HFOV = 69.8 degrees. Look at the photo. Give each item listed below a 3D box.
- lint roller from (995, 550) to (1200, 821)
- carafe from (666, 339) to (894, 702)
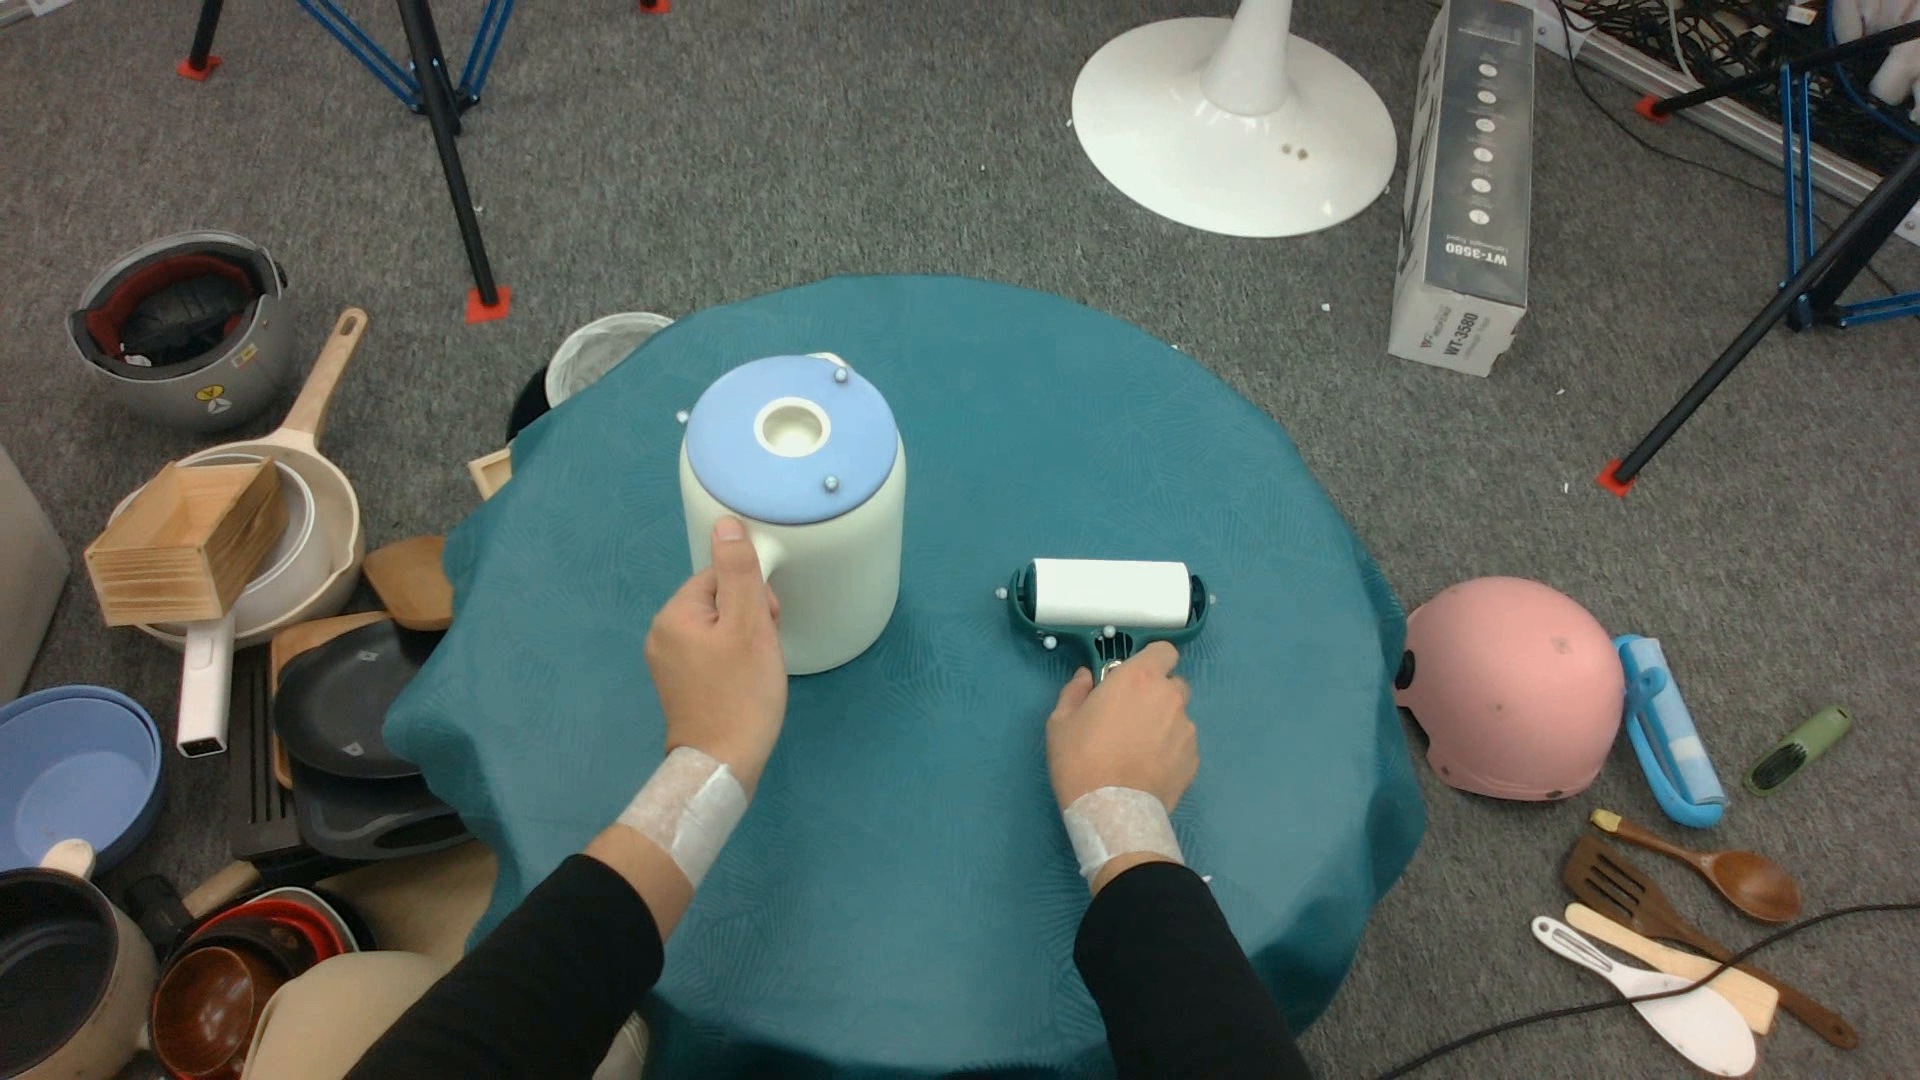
[{"bbox_3d":[0.090,0.083,0.855,0.134,0.048,0.181,2,50,-5],"label":"lint roller"},{"bbox_3d":[-0.114,0.001,0.823,0.132,0.181,0.192,13,57,3],"label":"carafe"}]
